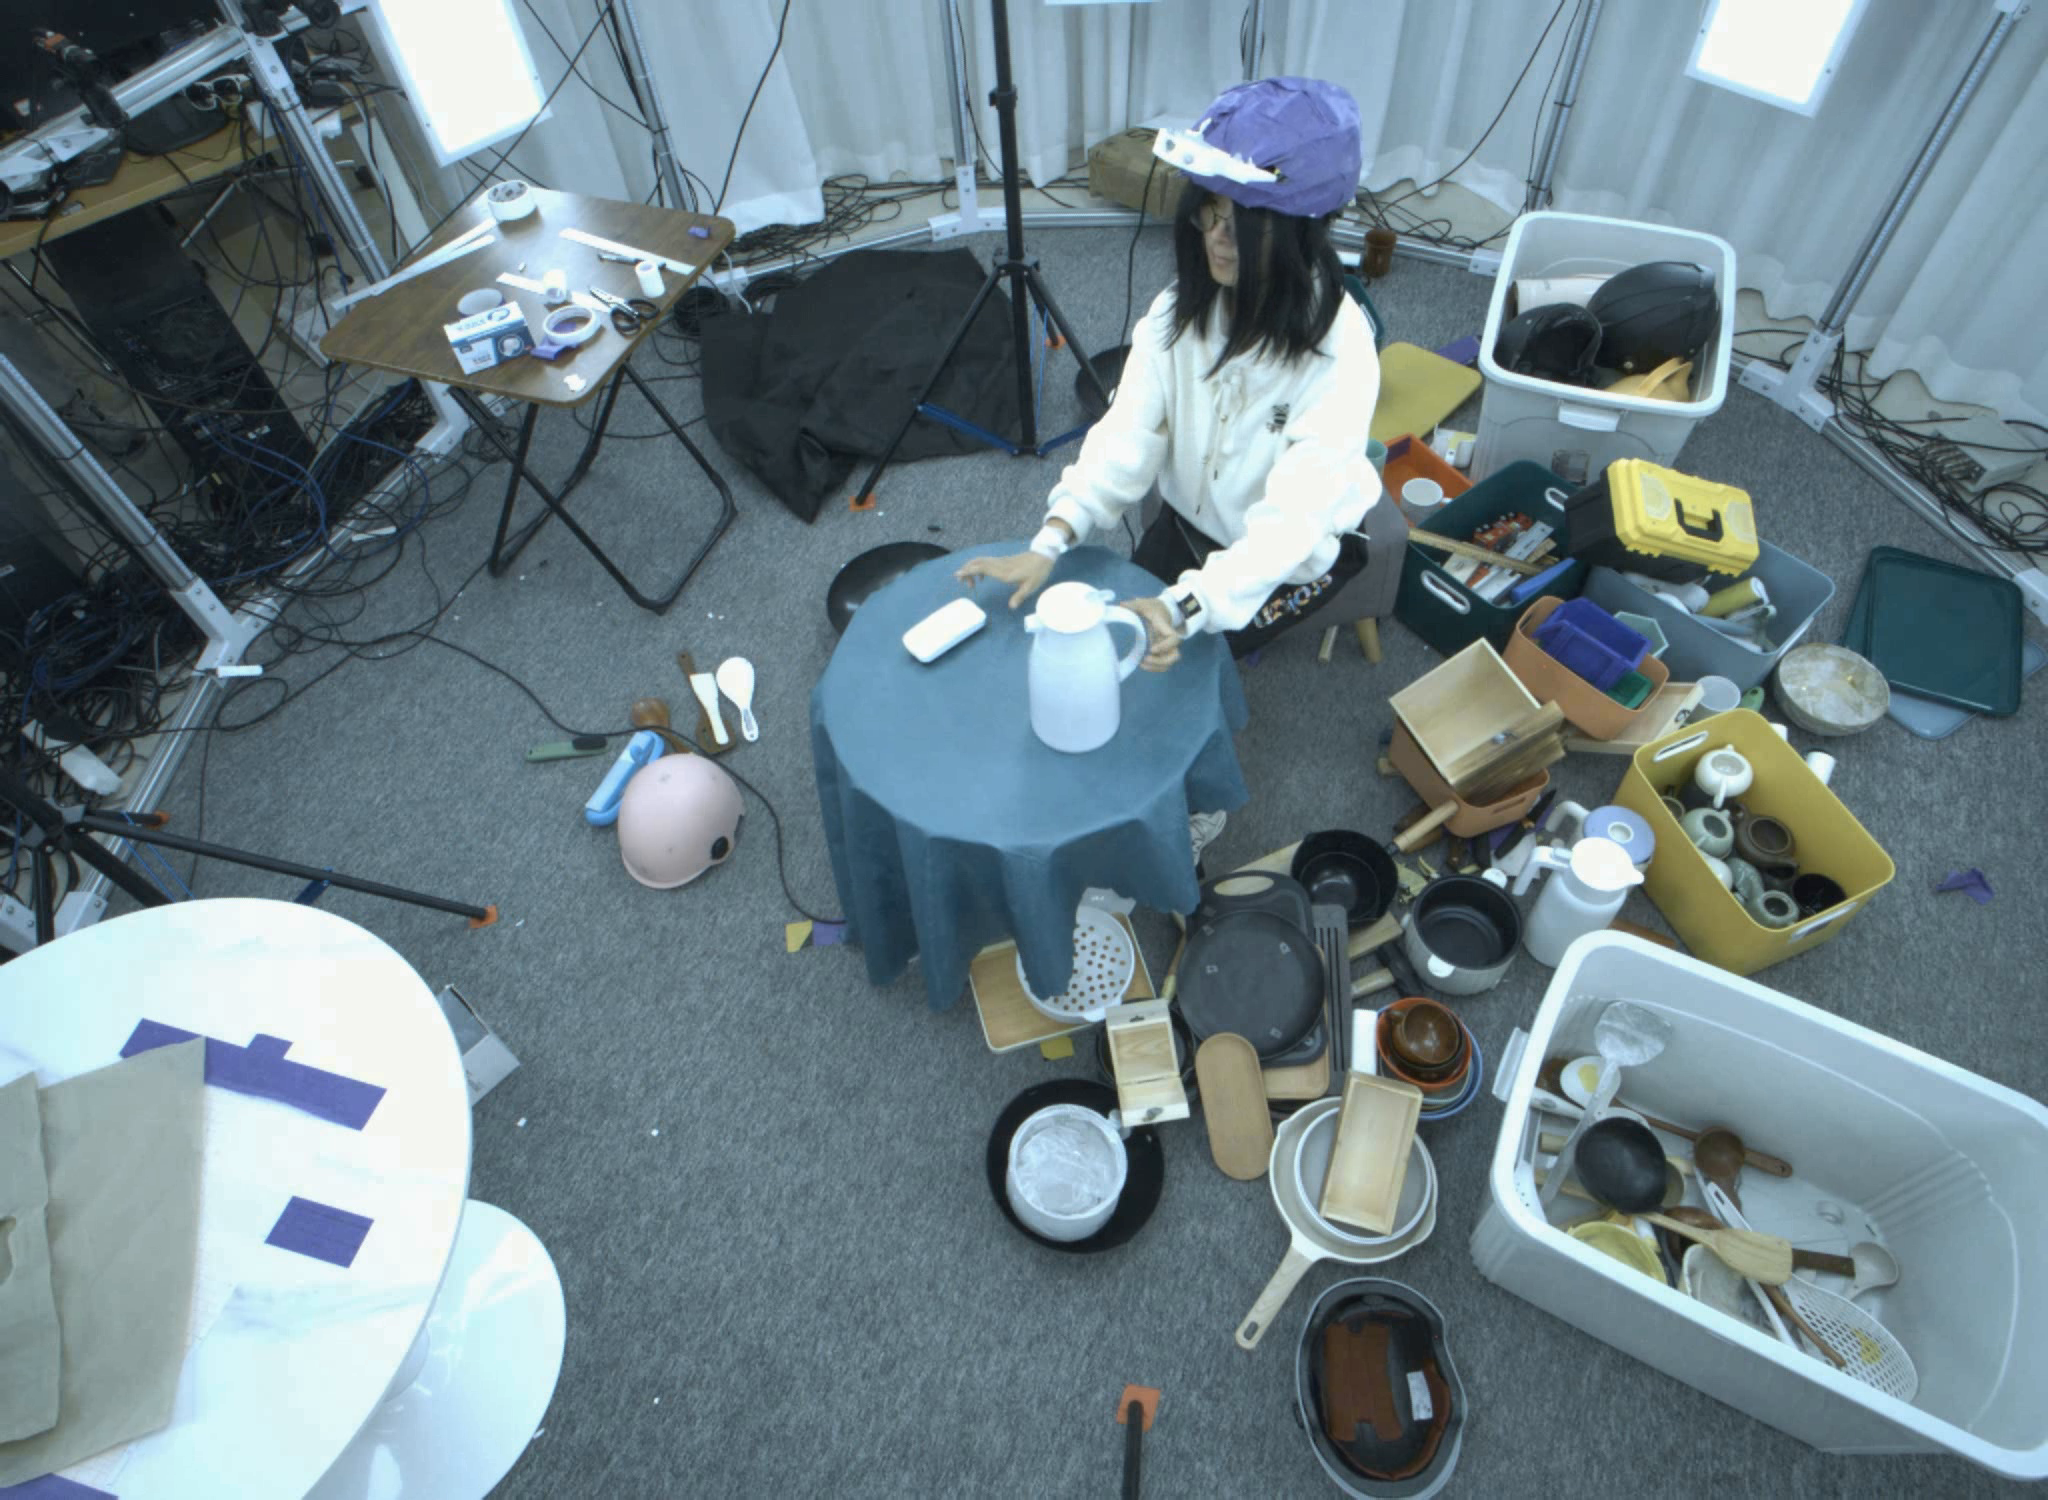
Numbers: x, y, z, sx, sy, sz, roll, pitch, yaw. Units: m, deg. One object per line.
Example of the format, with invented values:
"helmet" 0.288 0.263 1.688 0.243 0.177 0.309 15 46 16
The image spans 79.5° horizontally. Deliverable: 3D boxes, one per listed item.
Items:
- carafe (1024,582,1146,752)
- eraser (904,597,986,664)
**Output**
"carafe" 0.087 -0.126 1.721 0.168 0.251 0.130 -13 54 -6
"eraser" -0.122 -0.187 1.904 0.132 0.035 0.062 -36 64 -21
